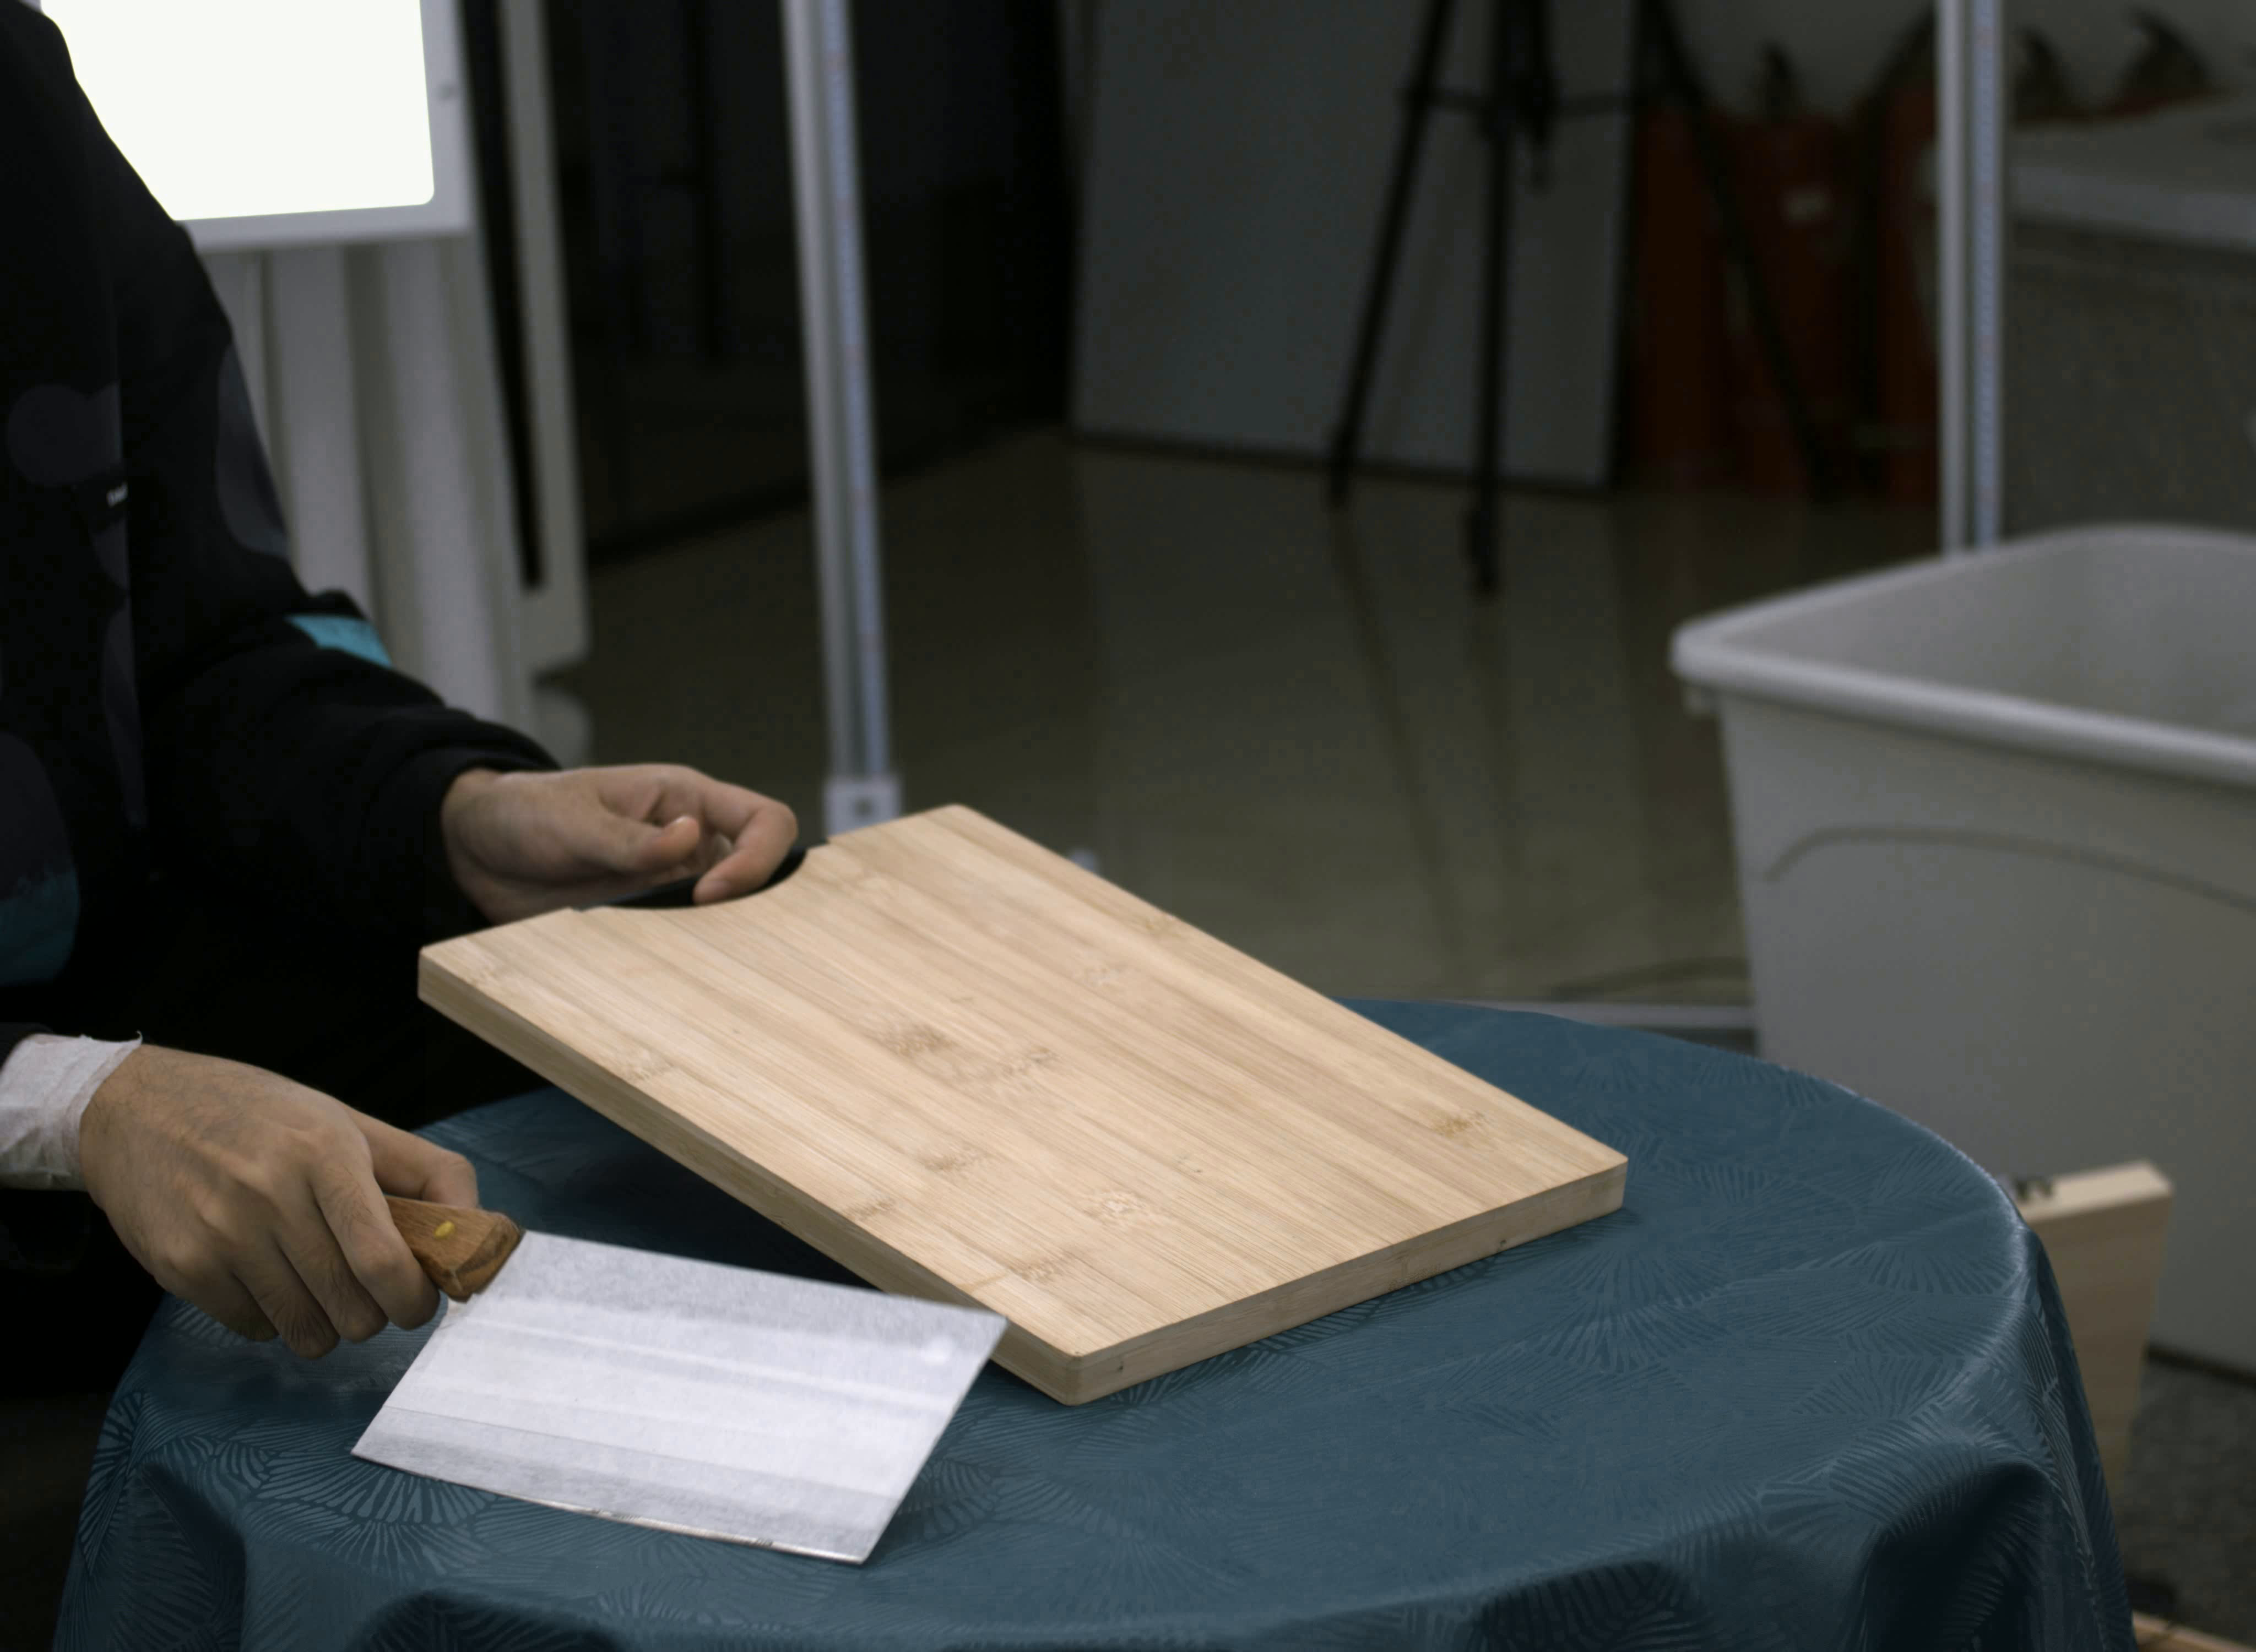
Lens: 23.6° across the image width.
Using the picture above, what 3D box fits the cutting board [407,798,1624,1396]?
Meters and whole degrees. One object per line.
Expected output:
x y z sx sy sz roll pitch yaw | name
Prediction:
-0.041 0.080 1.766 0.245 0.024 0.352 -16 30 -39 | cutting board

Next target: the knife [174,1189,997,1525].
-0.175 0.156 1.577 0.308 0.021 0.092 6 48 36 | knife
